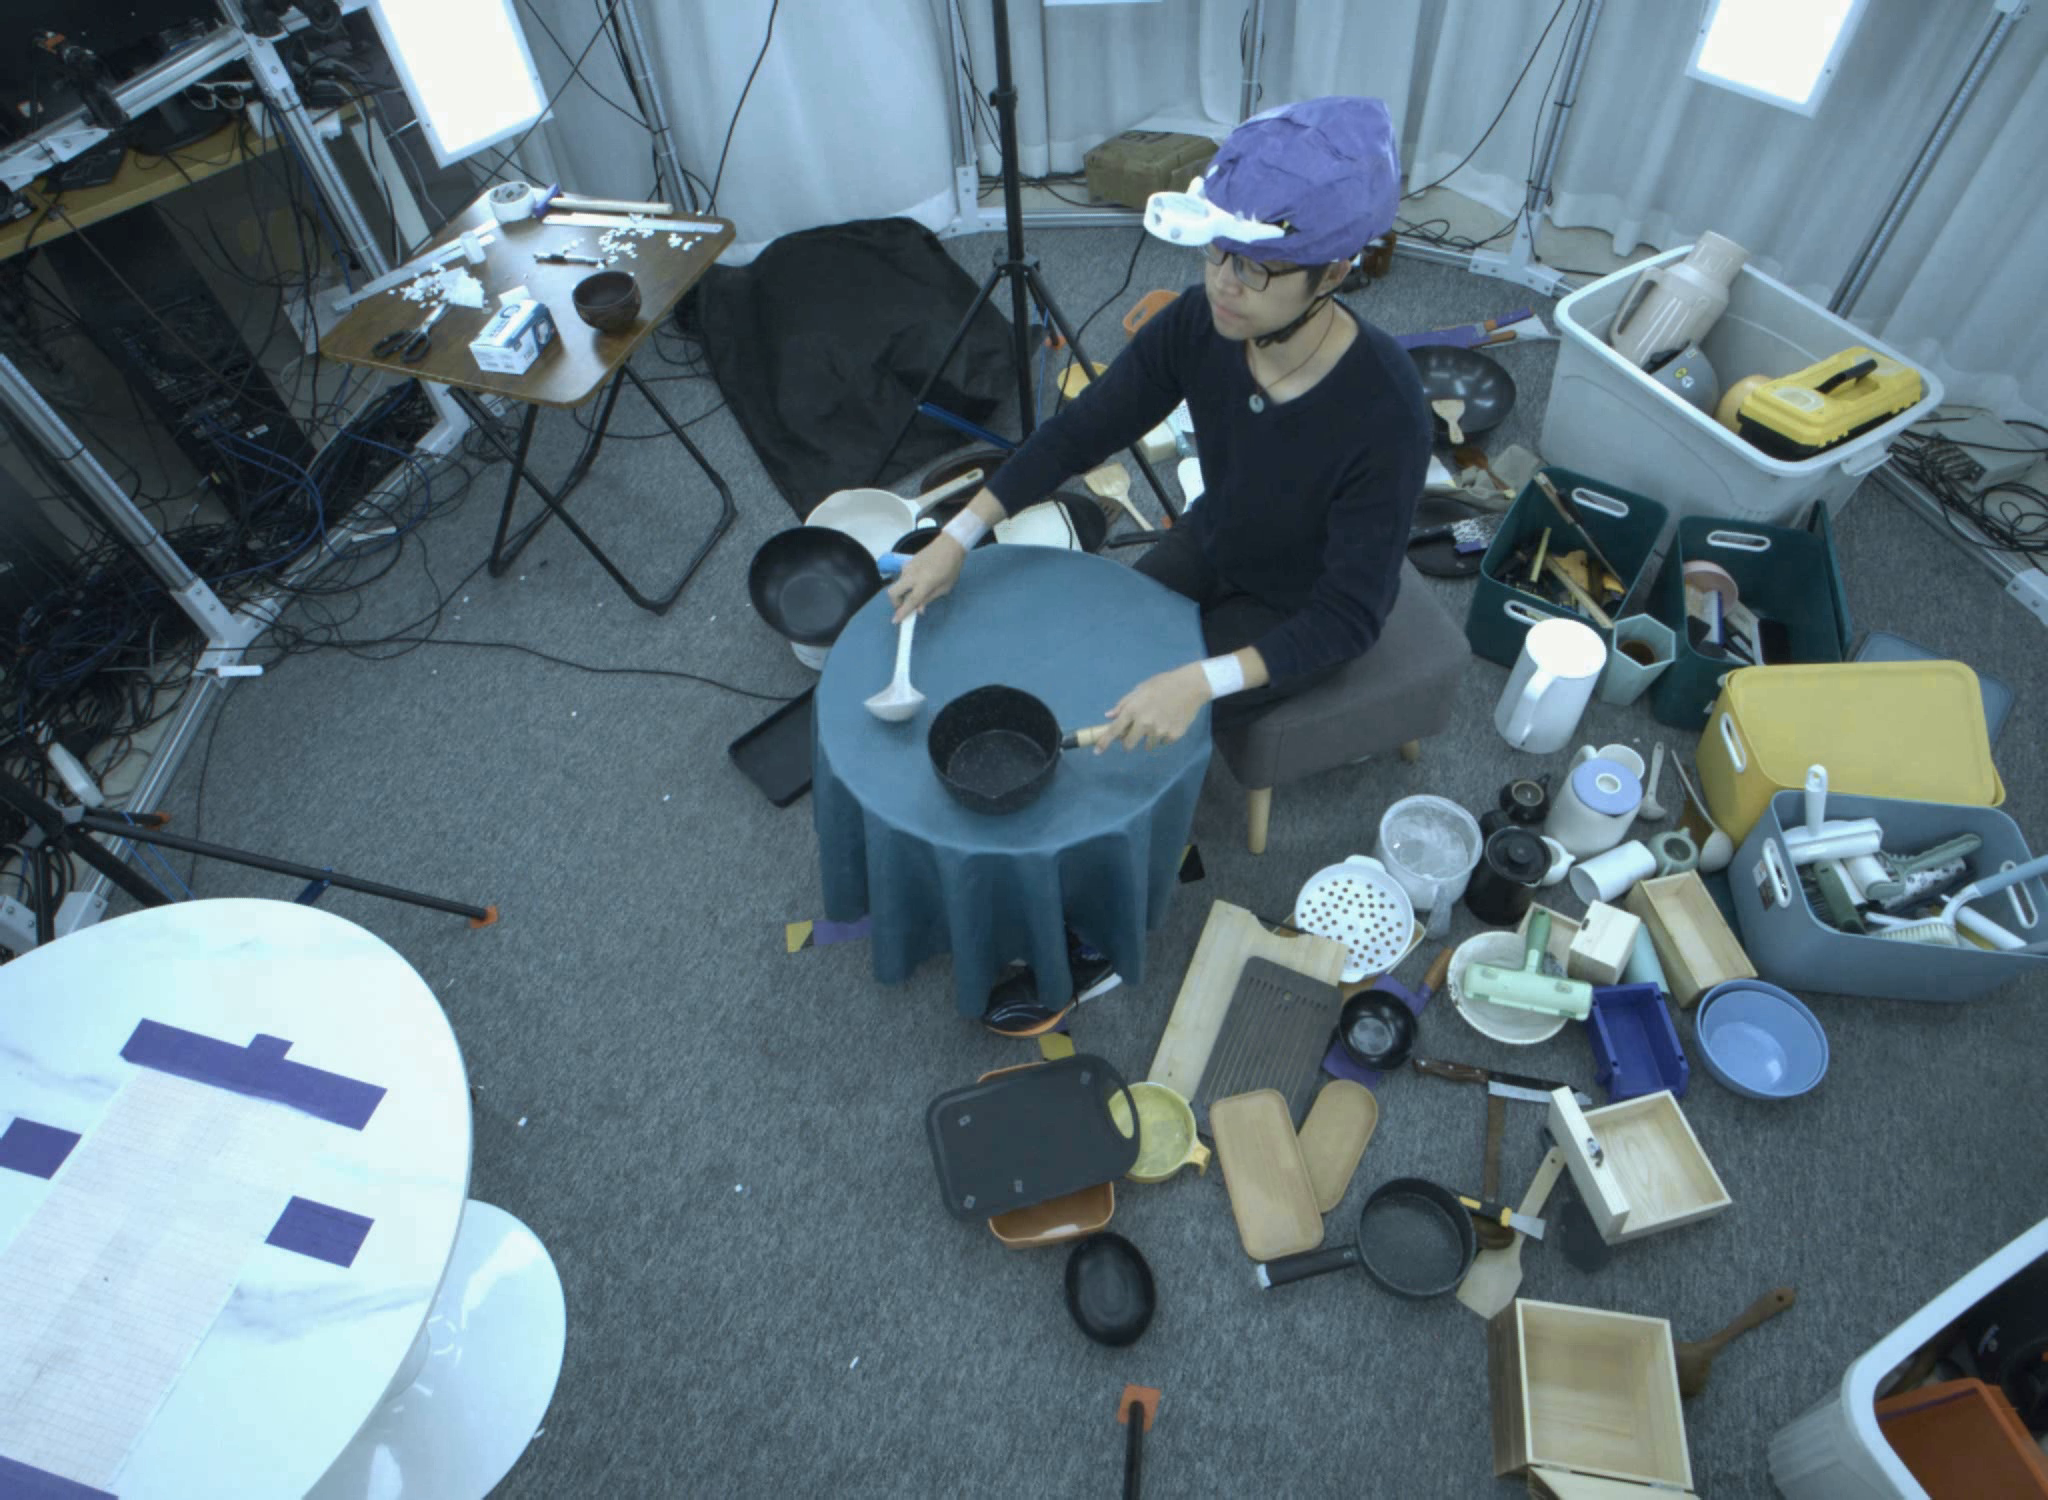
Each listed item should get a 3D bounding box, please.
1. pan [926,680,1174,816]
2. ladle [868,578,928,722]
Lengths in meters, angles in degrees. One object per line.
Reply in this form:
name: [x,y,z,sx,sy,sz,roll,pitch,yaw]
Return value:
pan: [0.037,-0.006,1.723,0.343,0.109,0.205,-5,54,1]
ladle: [-0.178,-0.165,1.844,0.089,0.070,0.272,-1,63,10]
